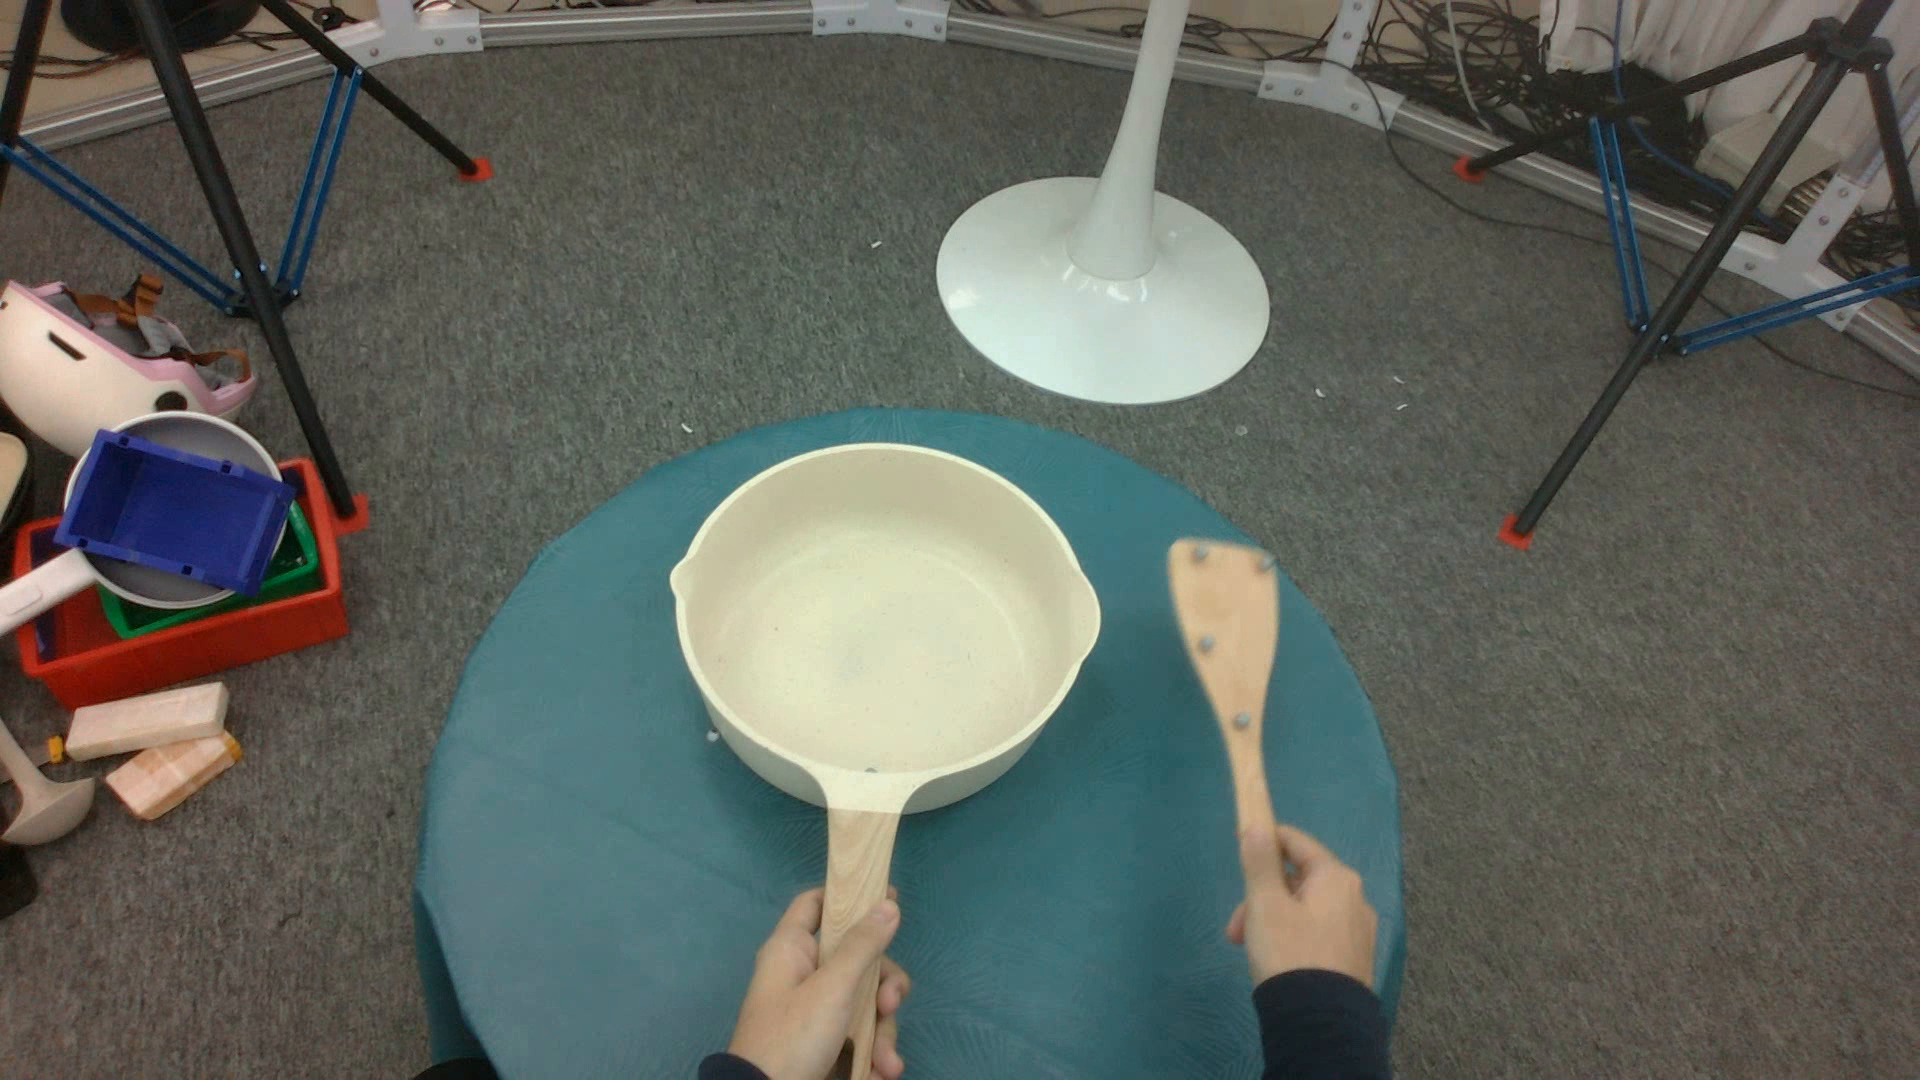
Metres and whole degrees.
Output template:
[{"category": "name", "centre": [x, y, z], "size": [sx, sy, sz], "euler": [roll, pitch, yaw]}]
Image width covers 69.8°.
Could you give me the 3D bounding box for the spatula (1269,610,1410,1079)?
[{"category": "spatula", "centre": [0.220, 0.159, 0.779], "size": [0.080, 0.016, 0.329], "euler": [19, 41, -10]}]

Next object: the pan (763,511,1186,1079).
[{"category": "pan", "centre": [-0.001, 0.167, 0.812], "size": [0.263, 0.101, 0.437], "euler": [7, 49, 0]}]
